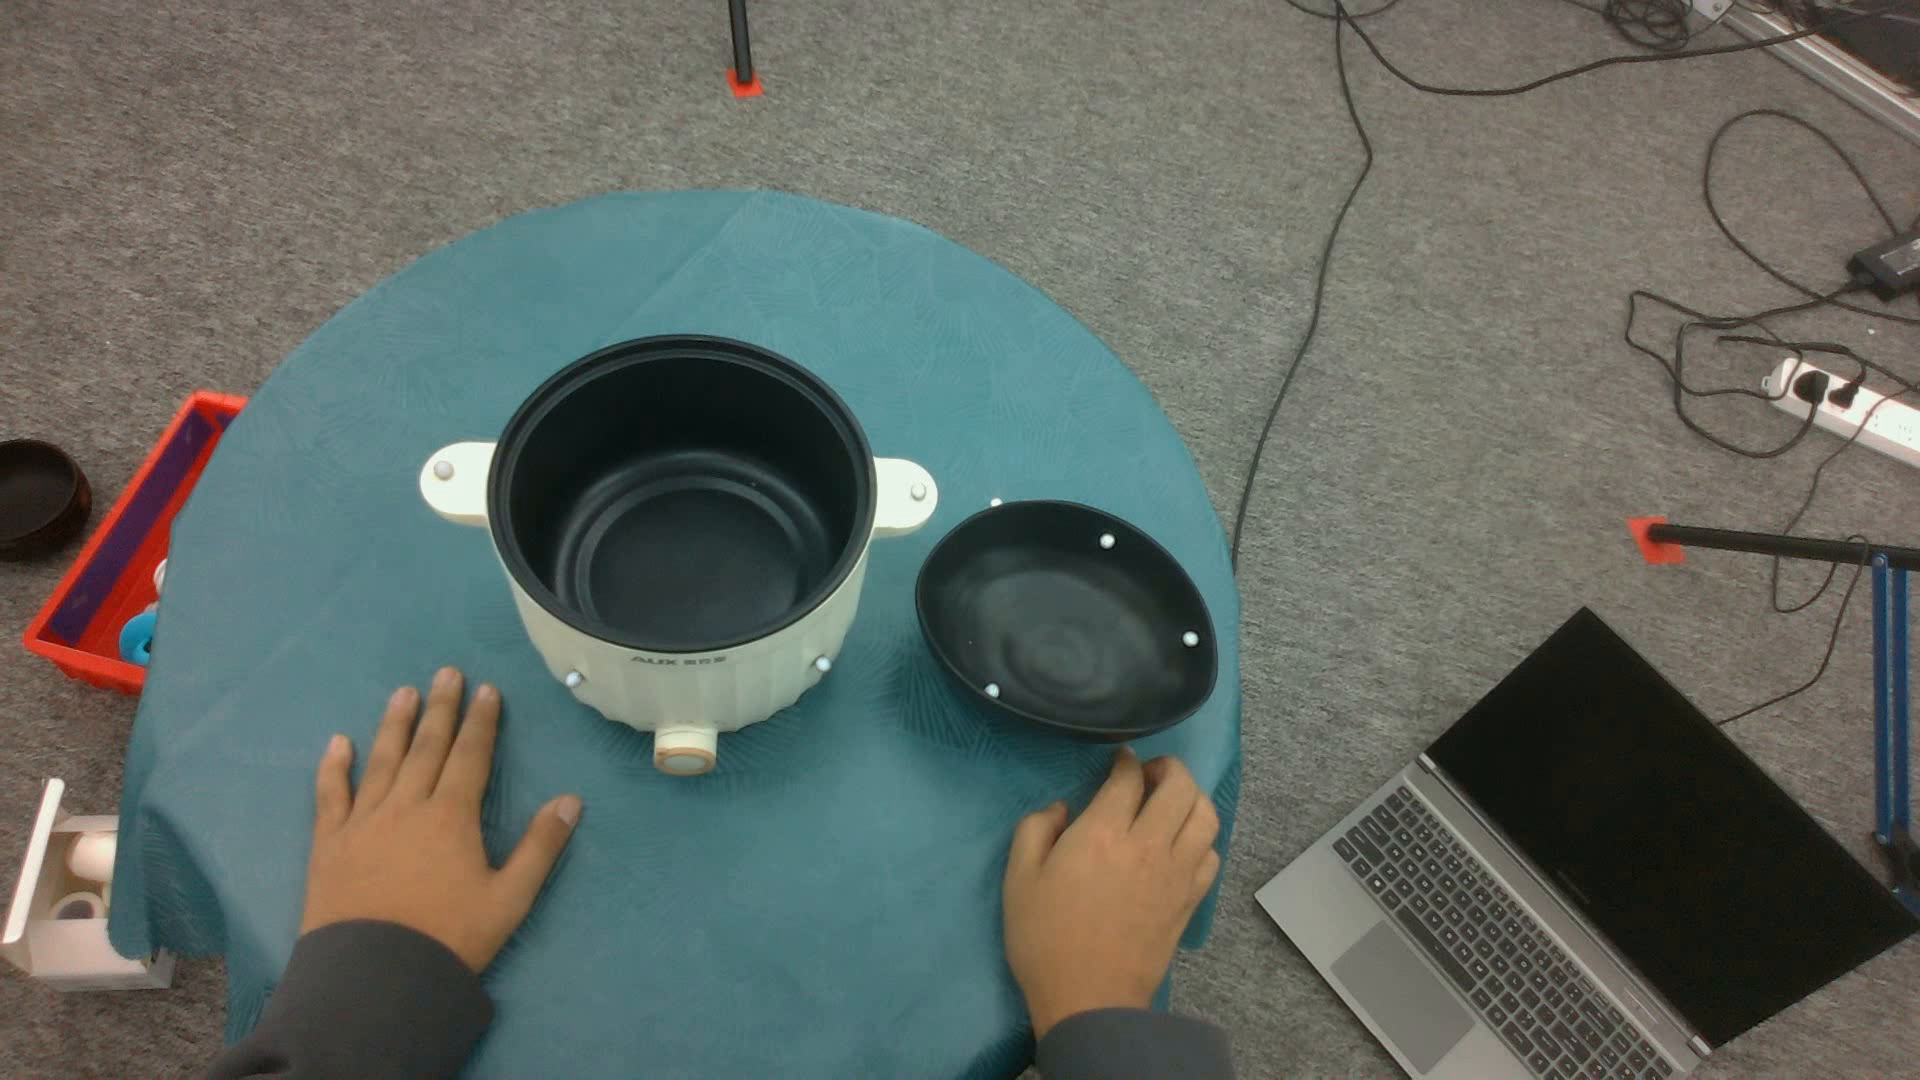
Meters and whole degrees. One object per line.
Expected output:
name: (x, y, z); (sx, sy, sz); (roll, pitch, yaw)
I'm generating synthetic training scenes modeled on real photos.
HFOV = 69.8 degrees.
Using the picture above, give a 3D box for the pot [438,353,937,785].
pot: (-0.134, 0.018, 0.723); (0.240, 0.142, 0.191); (-3, 56, -7)

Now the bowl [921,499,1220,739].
bowl: (0.060, 0.052, 0.768); (0.170, 0.066, 0.138); (16, 58, 2)
